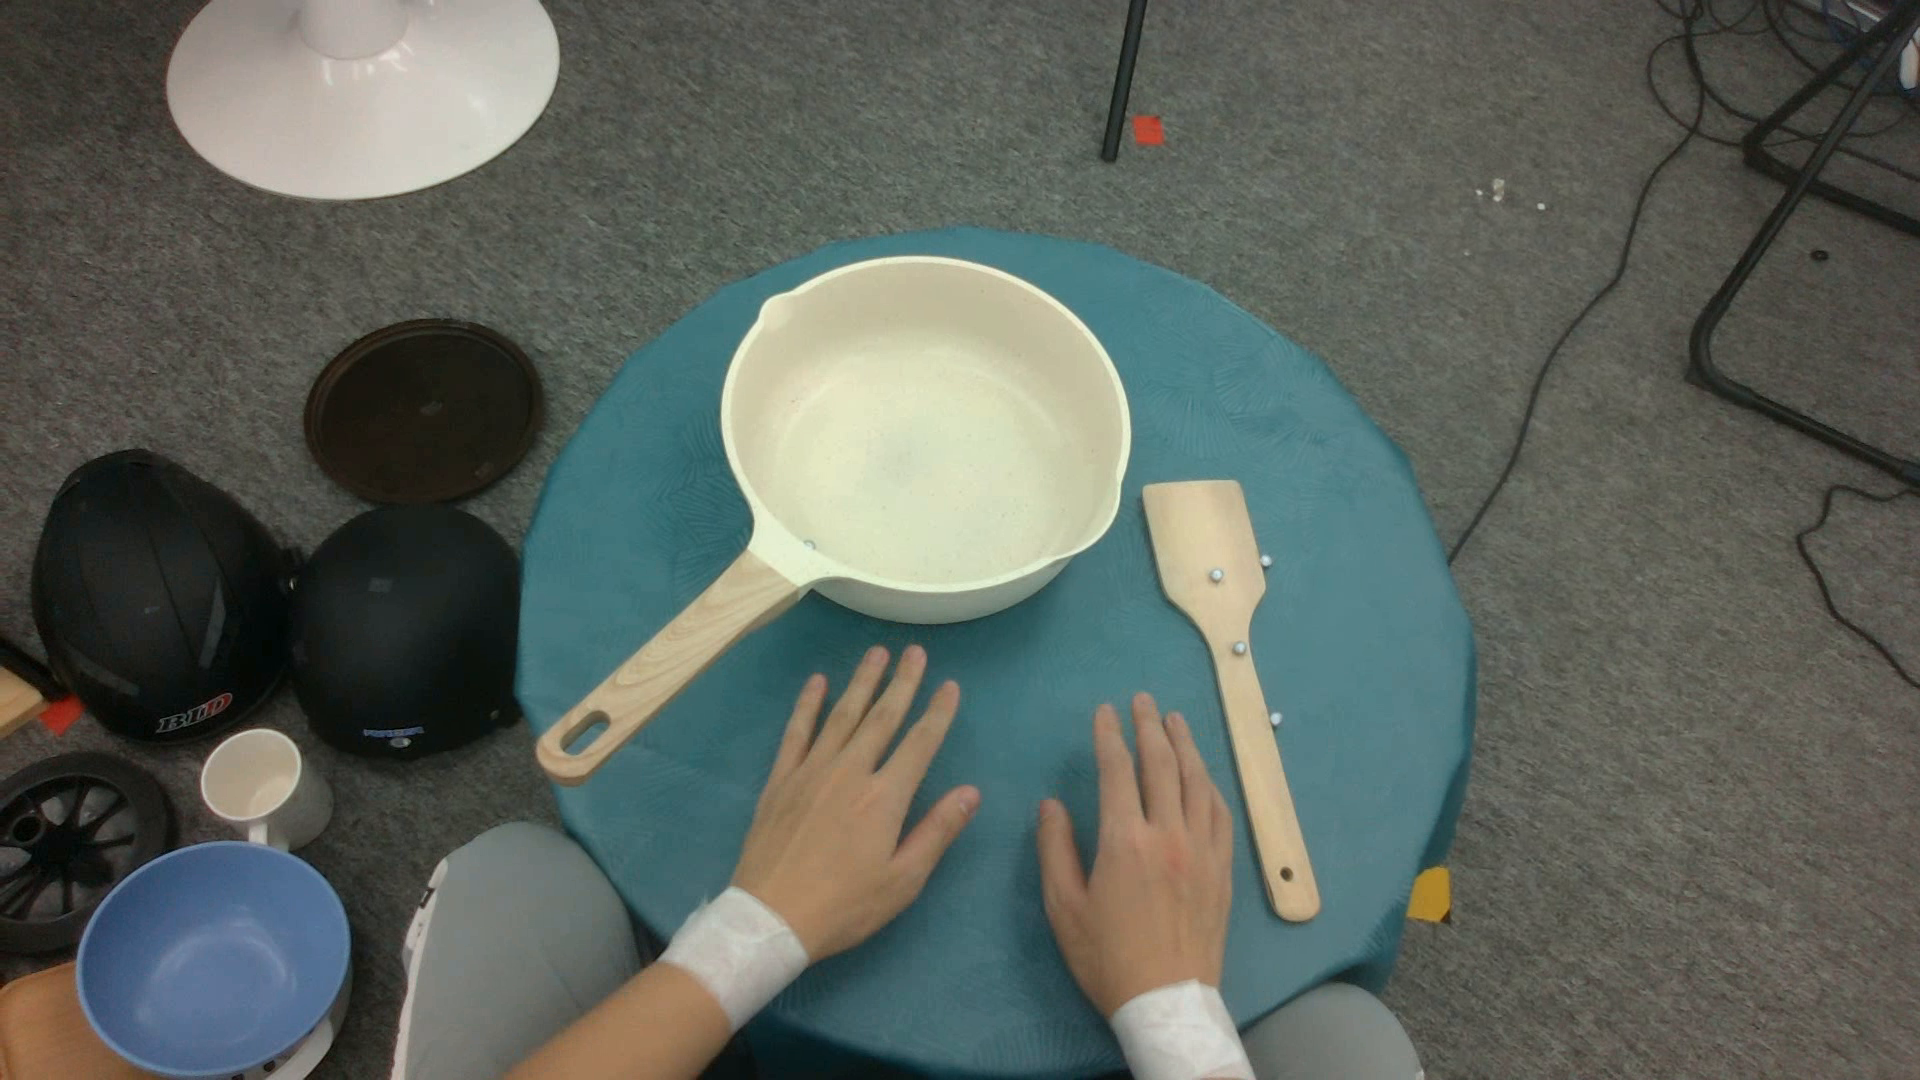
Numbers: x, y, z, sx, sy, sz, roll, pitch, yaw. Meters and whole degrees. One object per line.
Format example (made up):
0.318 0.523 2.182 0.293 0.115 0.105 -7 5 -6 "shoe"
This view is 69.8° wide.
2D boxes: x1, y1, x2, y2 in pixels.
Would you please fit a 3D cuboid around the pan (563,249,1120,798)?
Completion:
-0.080 -0.004 0.840 0.263 0.101 0.437 33 63 12 "pan"

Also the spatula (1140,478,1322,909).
0.176 0.086 0.861 0.072 0.010 0.294 -4 60 -9 "spatula"
